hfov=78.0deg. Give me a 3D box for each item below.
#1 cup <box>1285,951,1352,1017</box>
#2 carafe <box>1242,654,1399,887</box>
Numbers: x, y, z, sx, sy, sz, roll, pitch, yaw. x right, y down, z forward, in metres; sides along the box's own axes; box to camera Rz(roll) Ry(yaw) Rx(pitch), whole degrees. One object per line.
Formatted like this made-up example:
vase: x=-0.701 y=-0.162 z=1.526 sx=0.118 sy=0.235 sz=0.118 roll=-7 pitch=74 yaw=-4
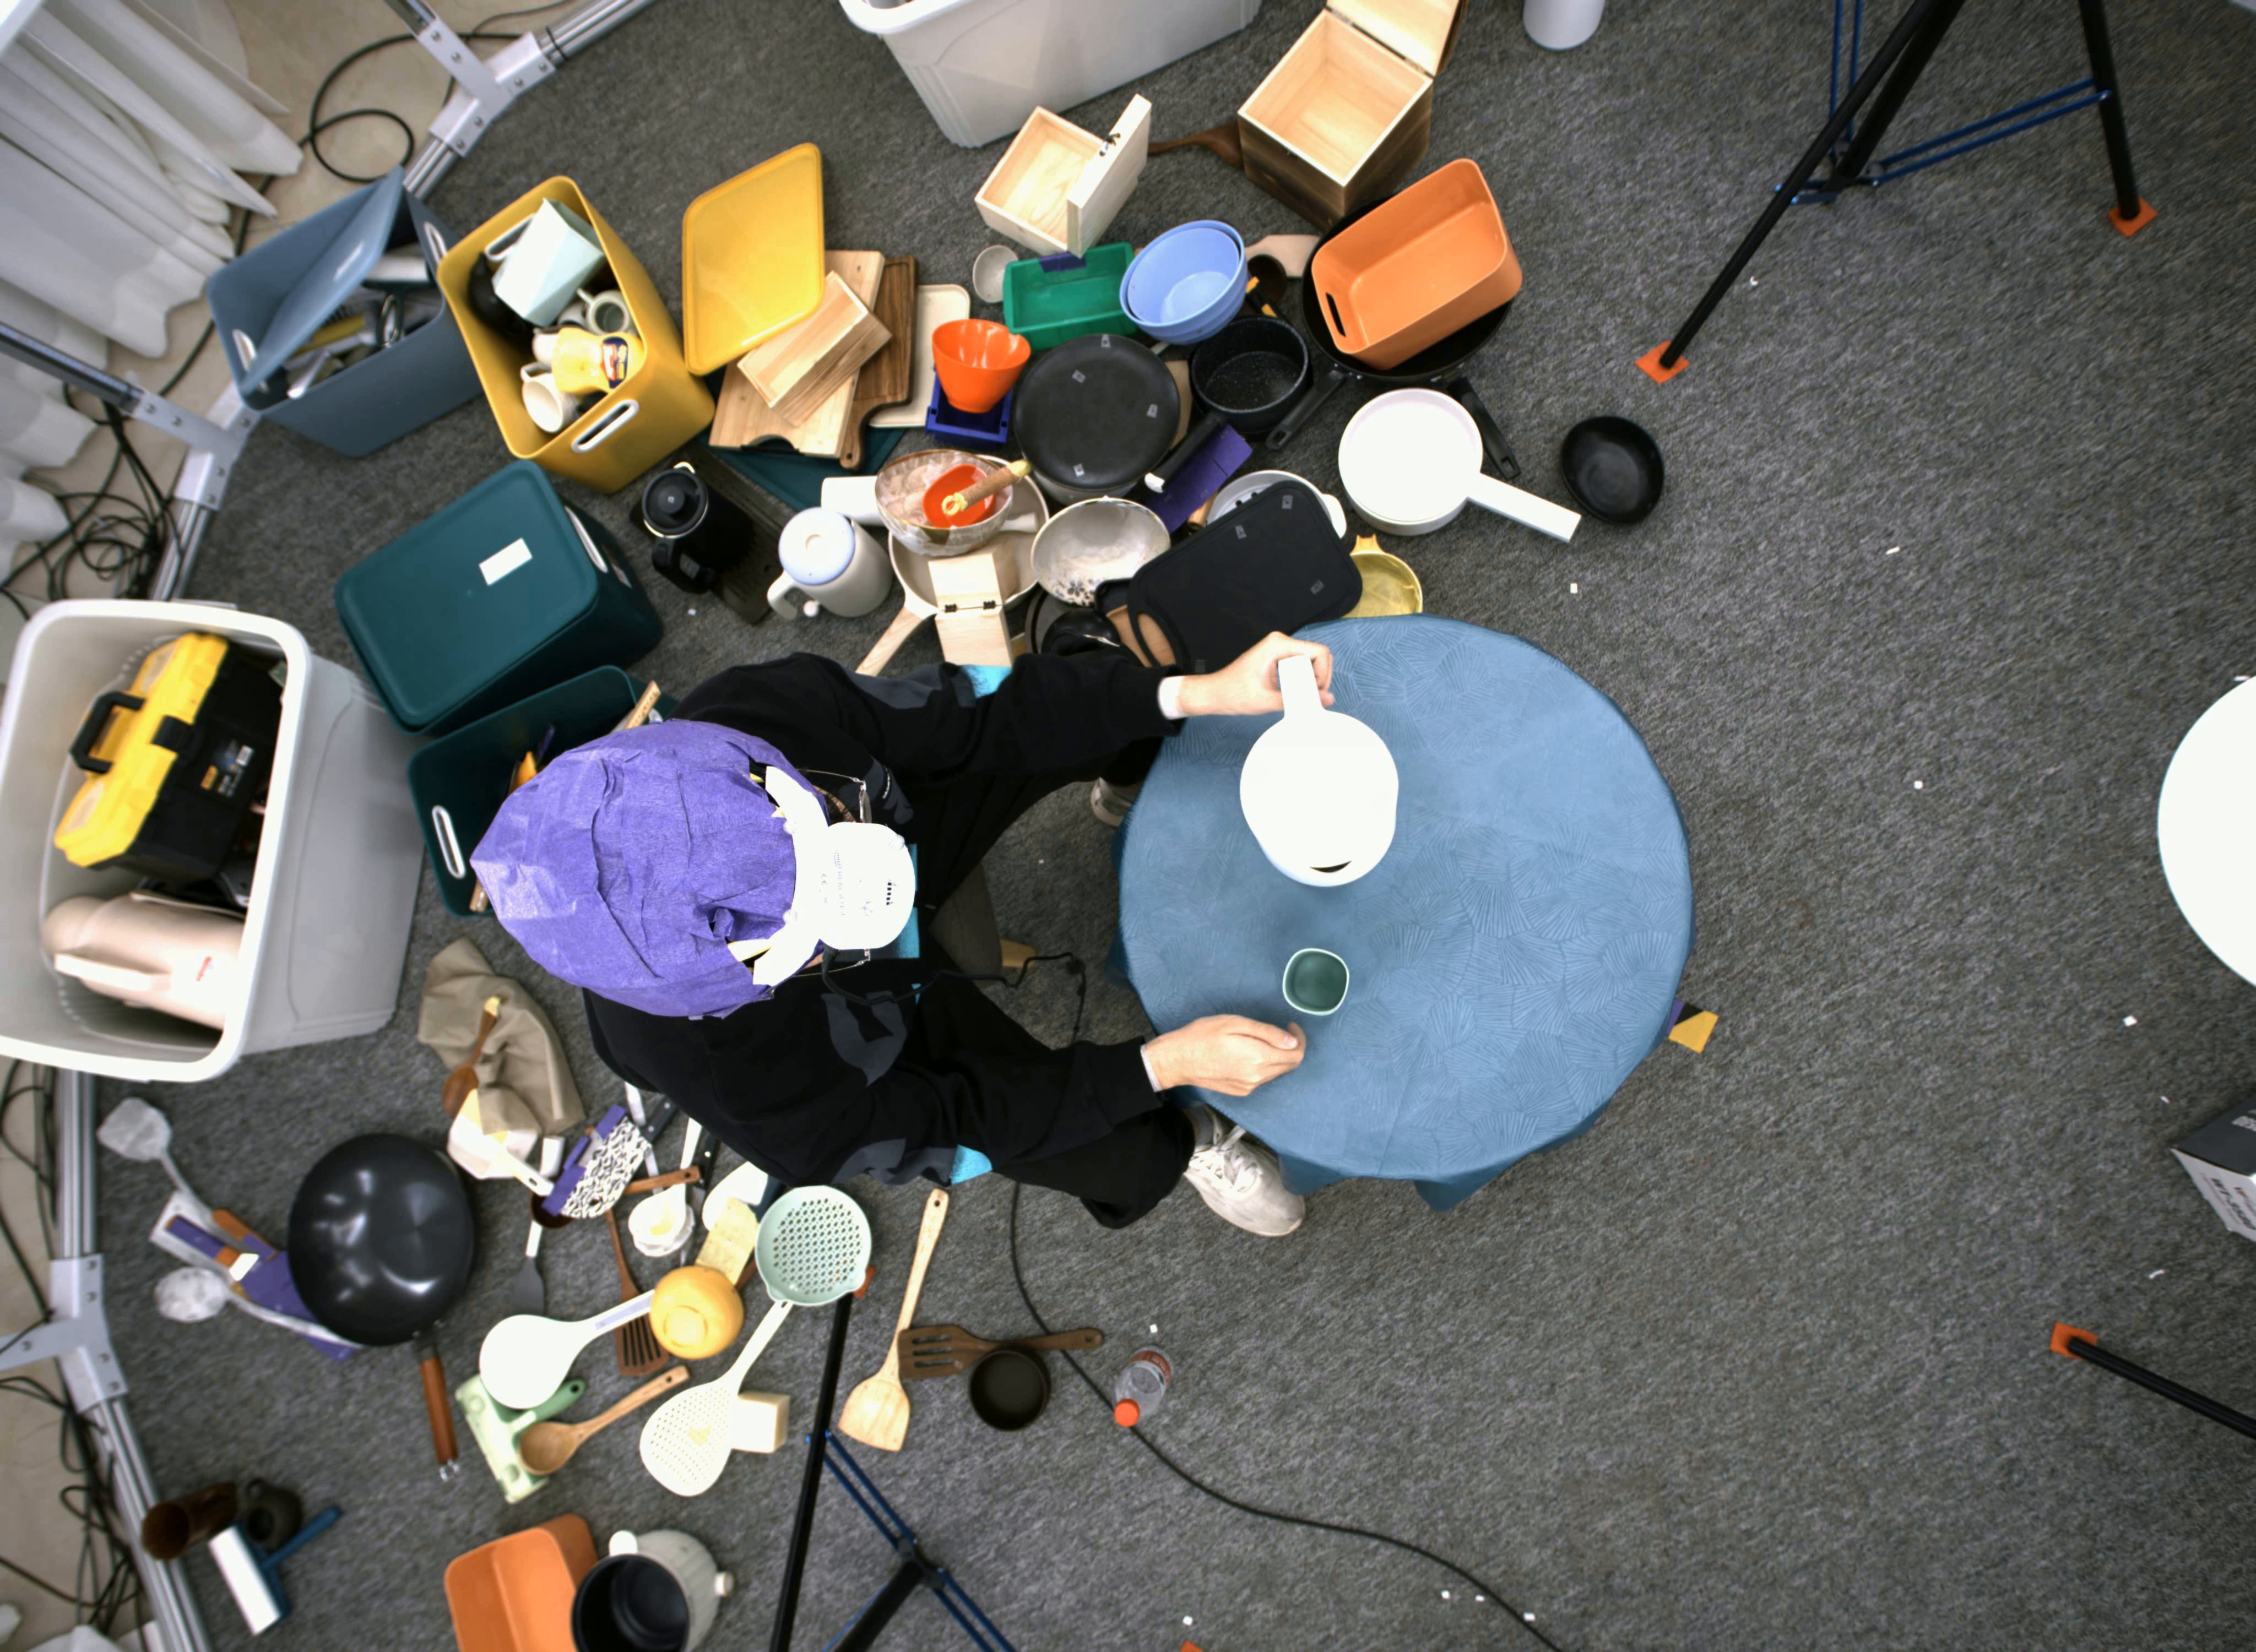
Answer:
cup: x=0.192 y=0.156 z=1.402 sx=0.067 sy=0.132 sz=0.066 roll=-1 pitch=86 yaw=9
carafe: x=0.188 y=-0.050 z=1.359 sx=0.153 sy=0.240 sz=0.212 roll=-9 pitch=85 yaw=8
